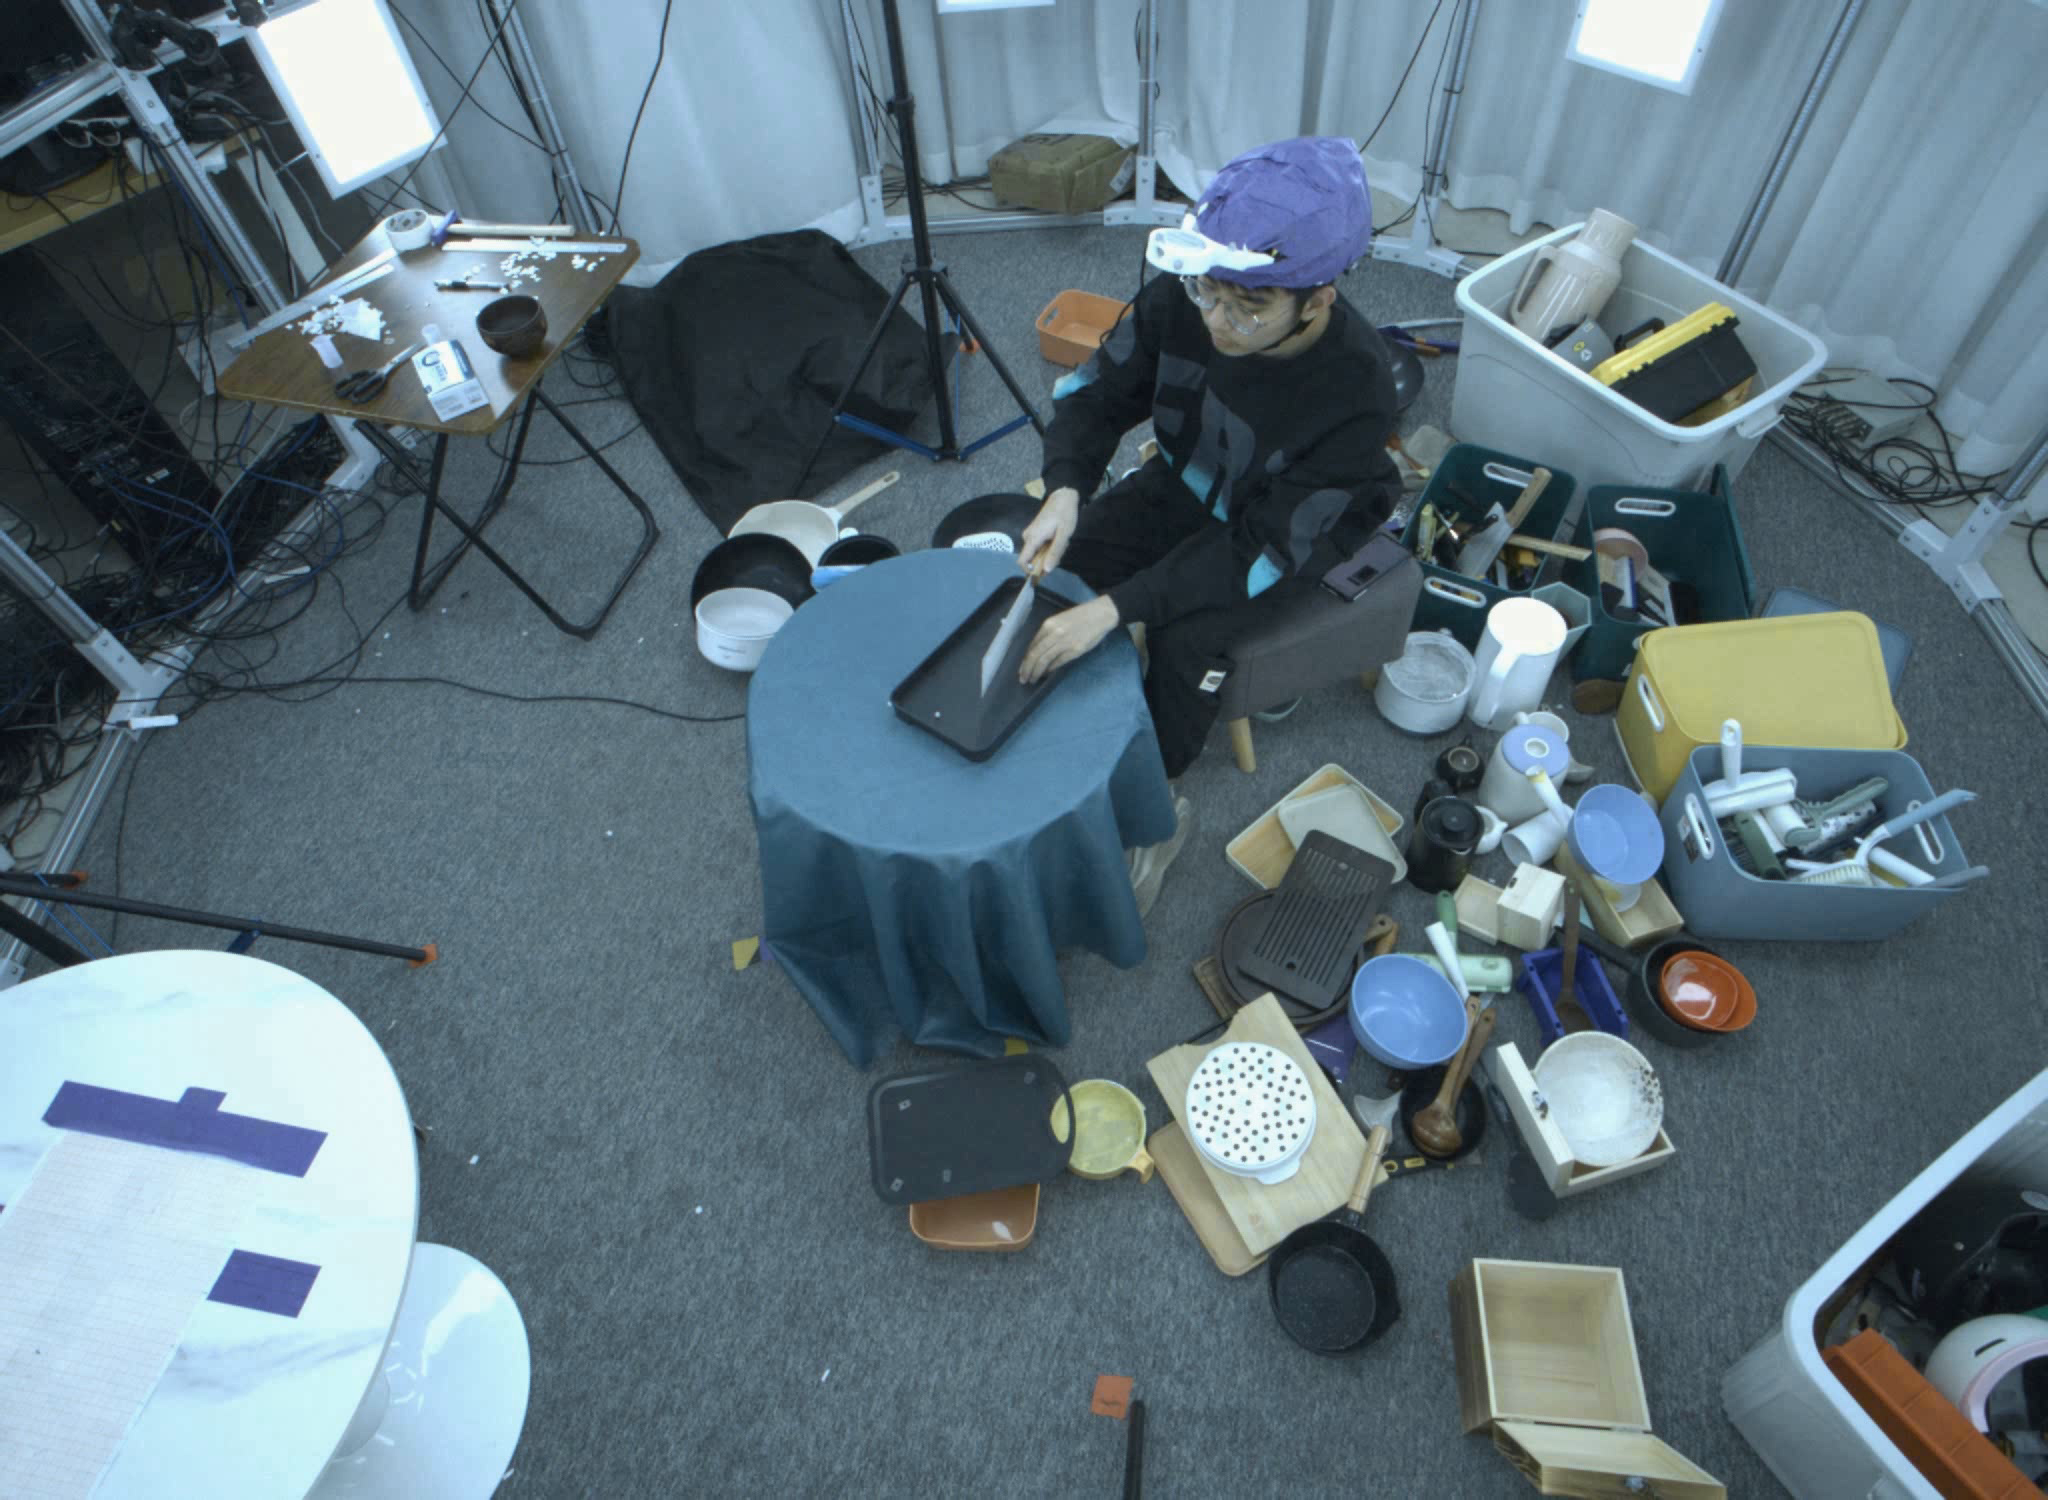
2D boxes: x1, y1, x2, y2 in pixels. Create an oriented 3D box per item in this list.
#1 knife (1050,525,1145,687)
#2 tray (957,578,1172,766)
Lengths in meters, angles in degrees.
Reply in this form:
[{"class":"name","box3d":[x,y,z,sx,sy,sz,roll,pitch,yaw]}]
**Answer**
[{"class":"knife","box3d":[0.108,-0.214,1.837,0.021,0.093,0.306,24,58,13]},{"class":"tray","box3d":[0.064,-0.123,1.850,0.181,0.037,0.320,33,62,23]}]
